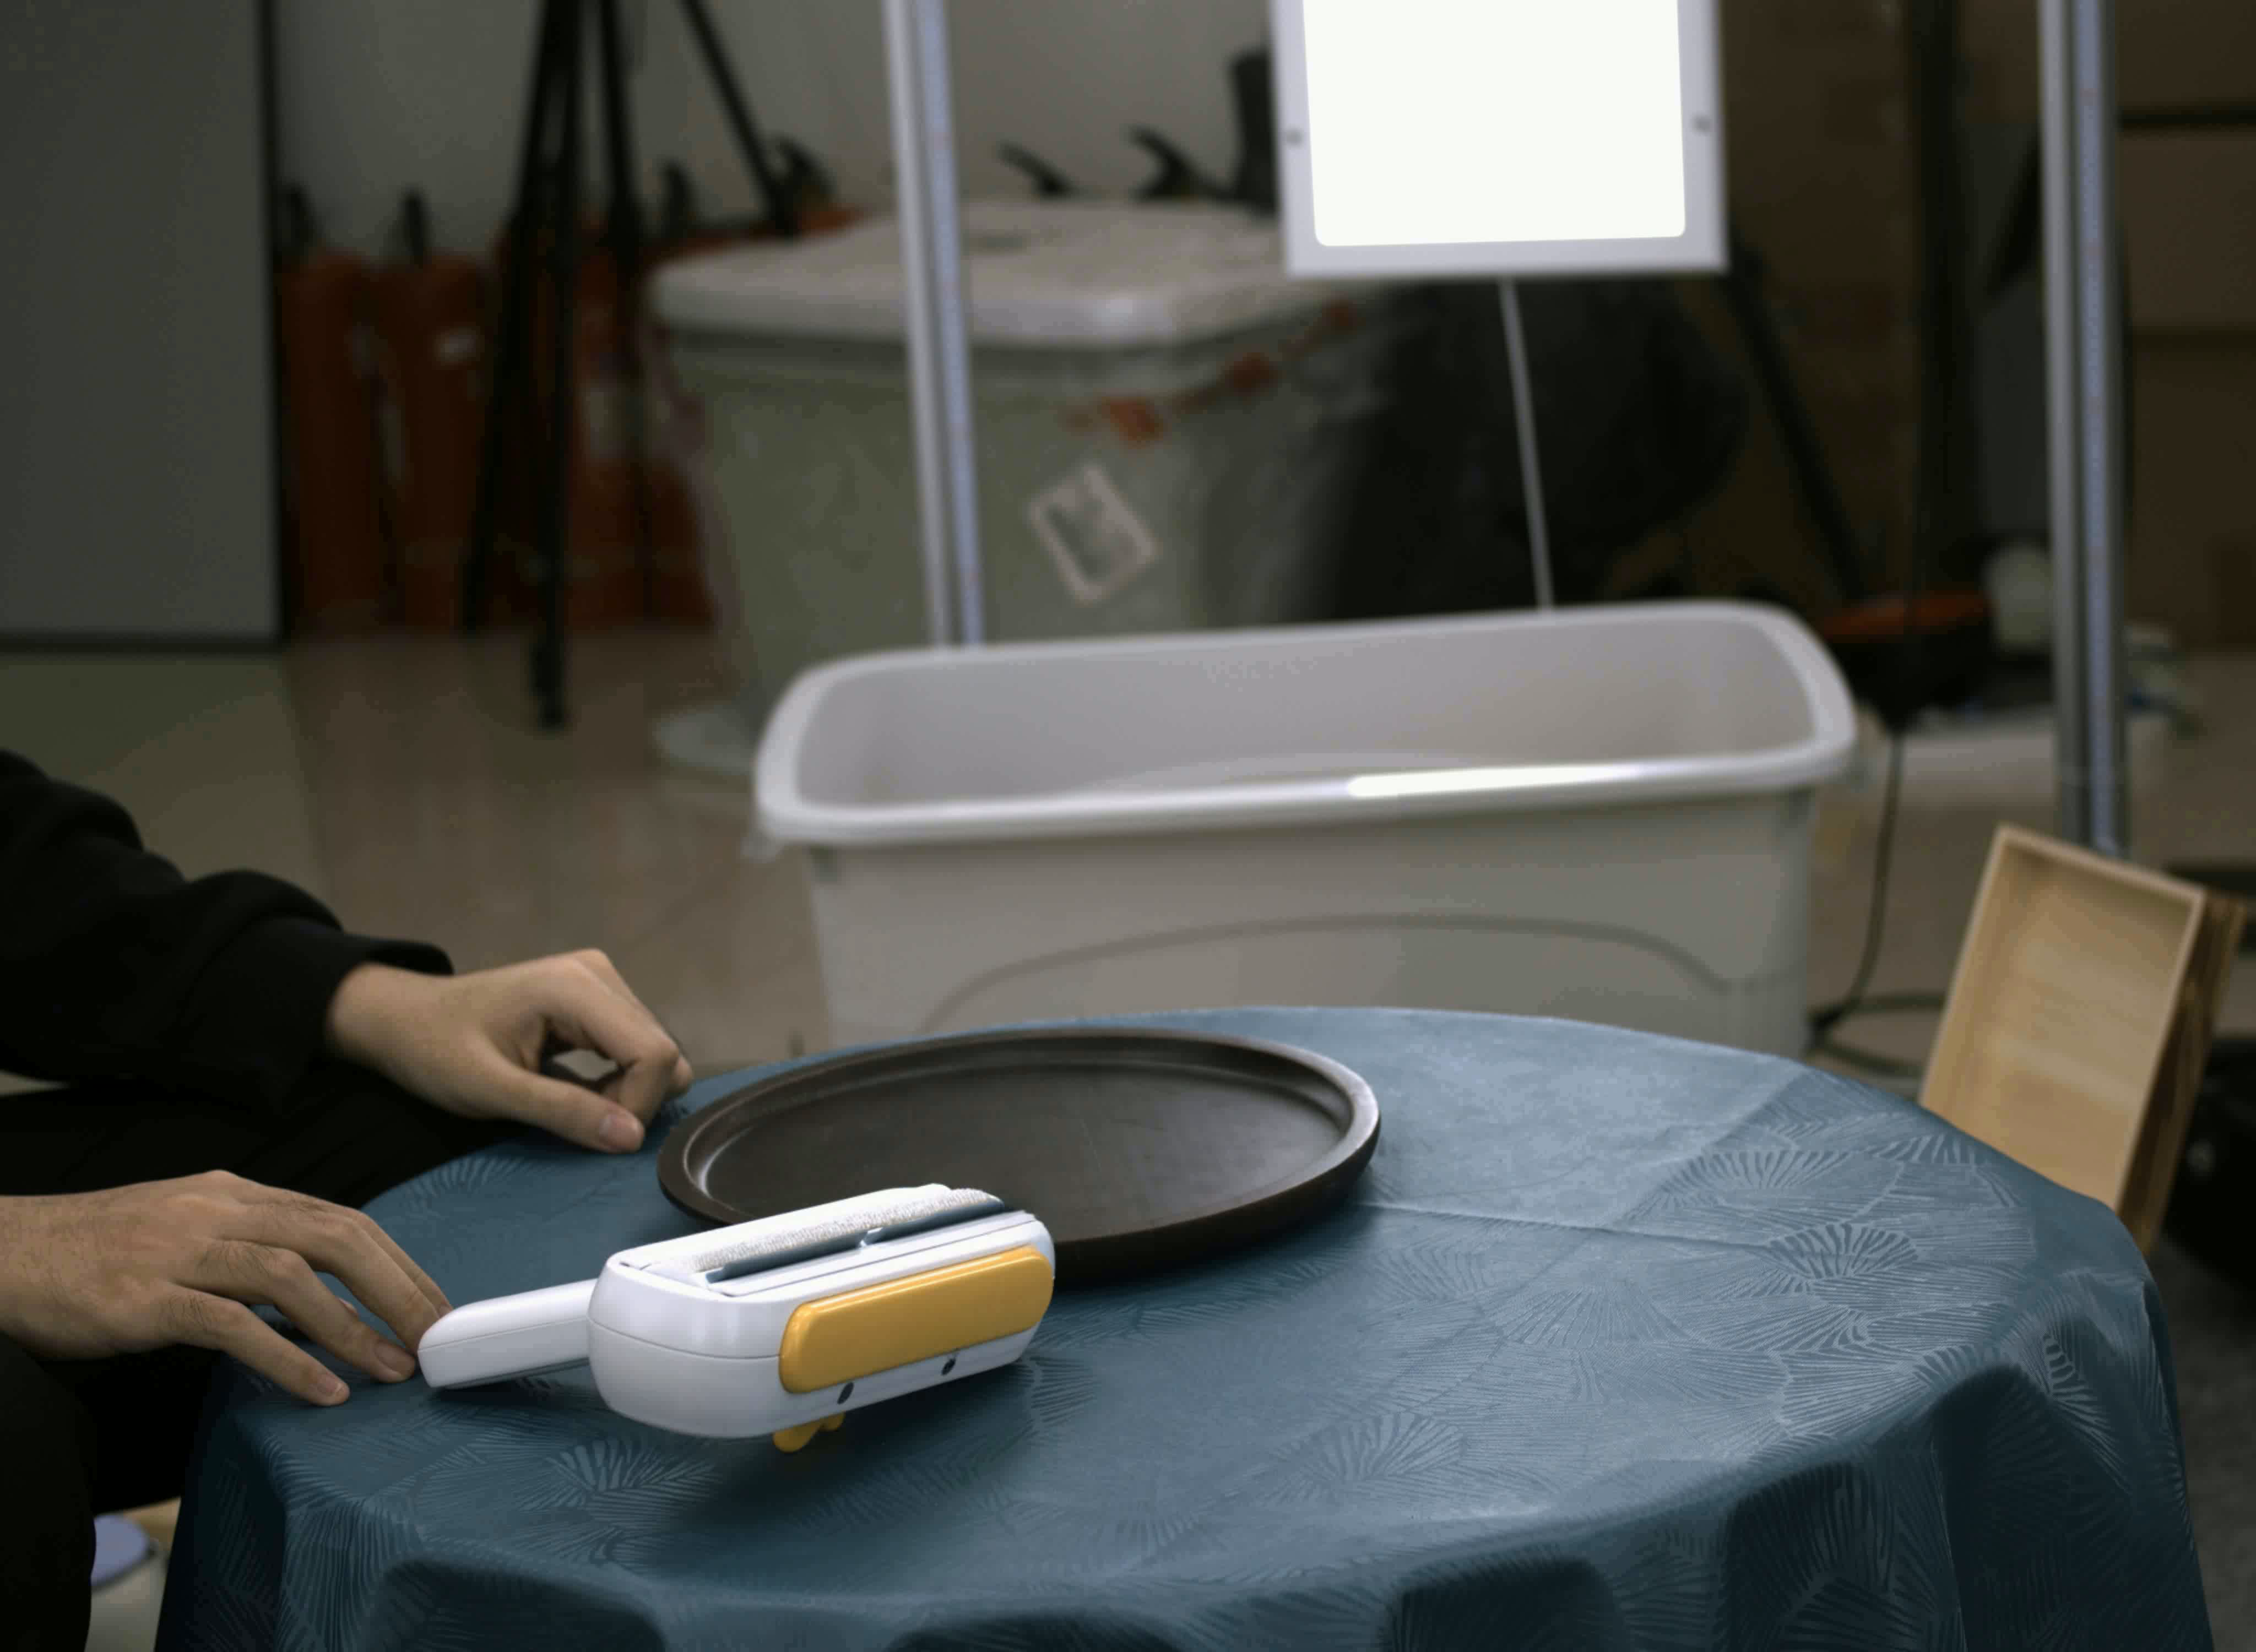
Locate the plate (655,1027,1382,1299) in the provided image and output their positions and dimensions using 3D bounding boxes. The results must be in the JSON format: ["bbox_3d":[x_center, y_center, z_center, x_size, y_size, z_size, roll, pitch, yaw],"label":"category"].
[{"bbox_3d":[-0.037,0.116,1.907,0.254,0.029,0.254,-6,13,0],"label":"plate"}]

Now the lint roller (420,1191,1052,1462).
[{"bbox_3d":[-0.143,0.151,1.706,0.196,0.074,0.188,3,10,36],"label":"lint roller"}]
